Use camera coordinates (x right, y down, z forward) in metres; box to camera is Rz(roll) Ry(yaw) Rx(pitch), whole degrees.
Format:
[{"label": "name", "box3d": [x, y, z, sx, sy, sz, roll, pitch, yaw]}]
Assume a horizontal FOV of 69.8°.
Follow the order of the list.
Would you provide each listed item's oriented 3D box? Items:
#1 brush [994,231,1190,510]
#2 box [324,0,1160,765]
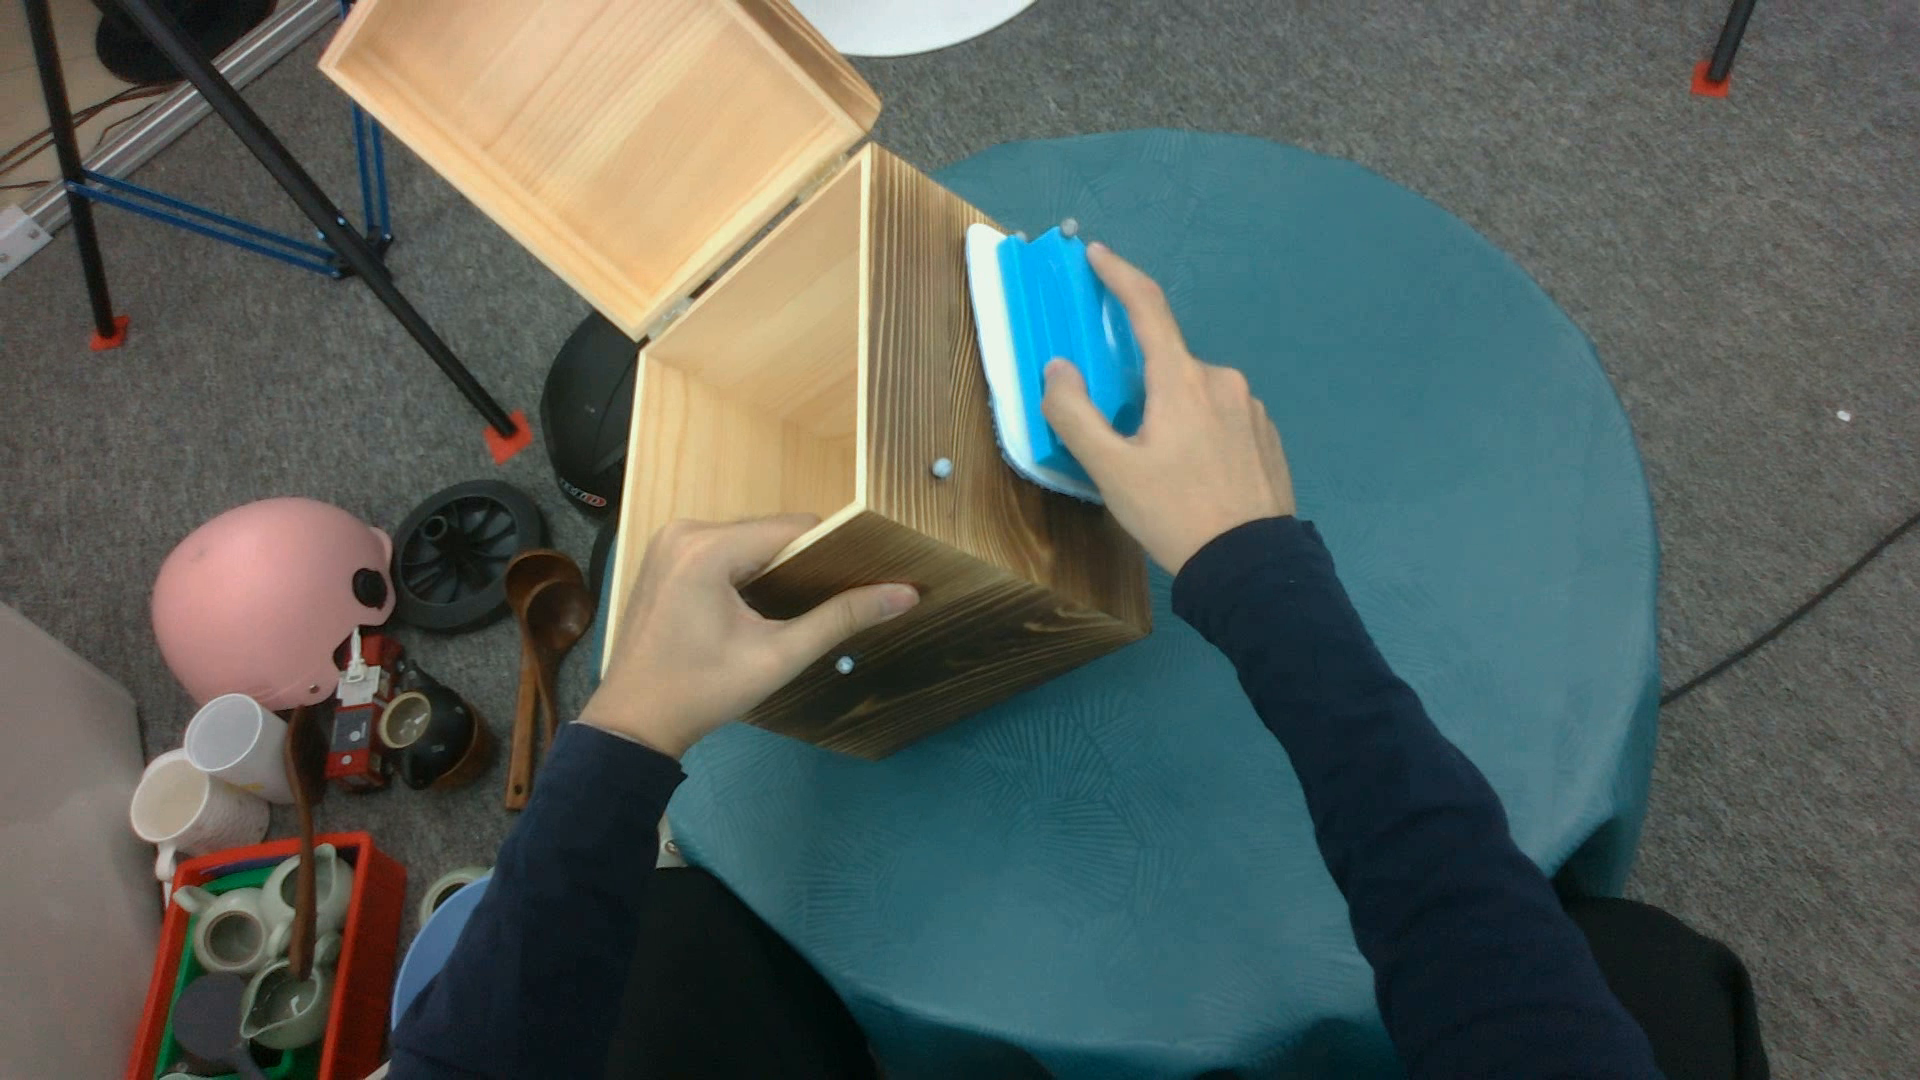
[{"label": "brush", "box3d": [0.067, -0.085, 0.636, 0.055, 0.084, 0.144, -40, 51, 38]}, {"label": "box", "box3d": [-0.118, -0.099, 0.676, 0.208, 0.375, 0.323, -33, 47, 39]}]
